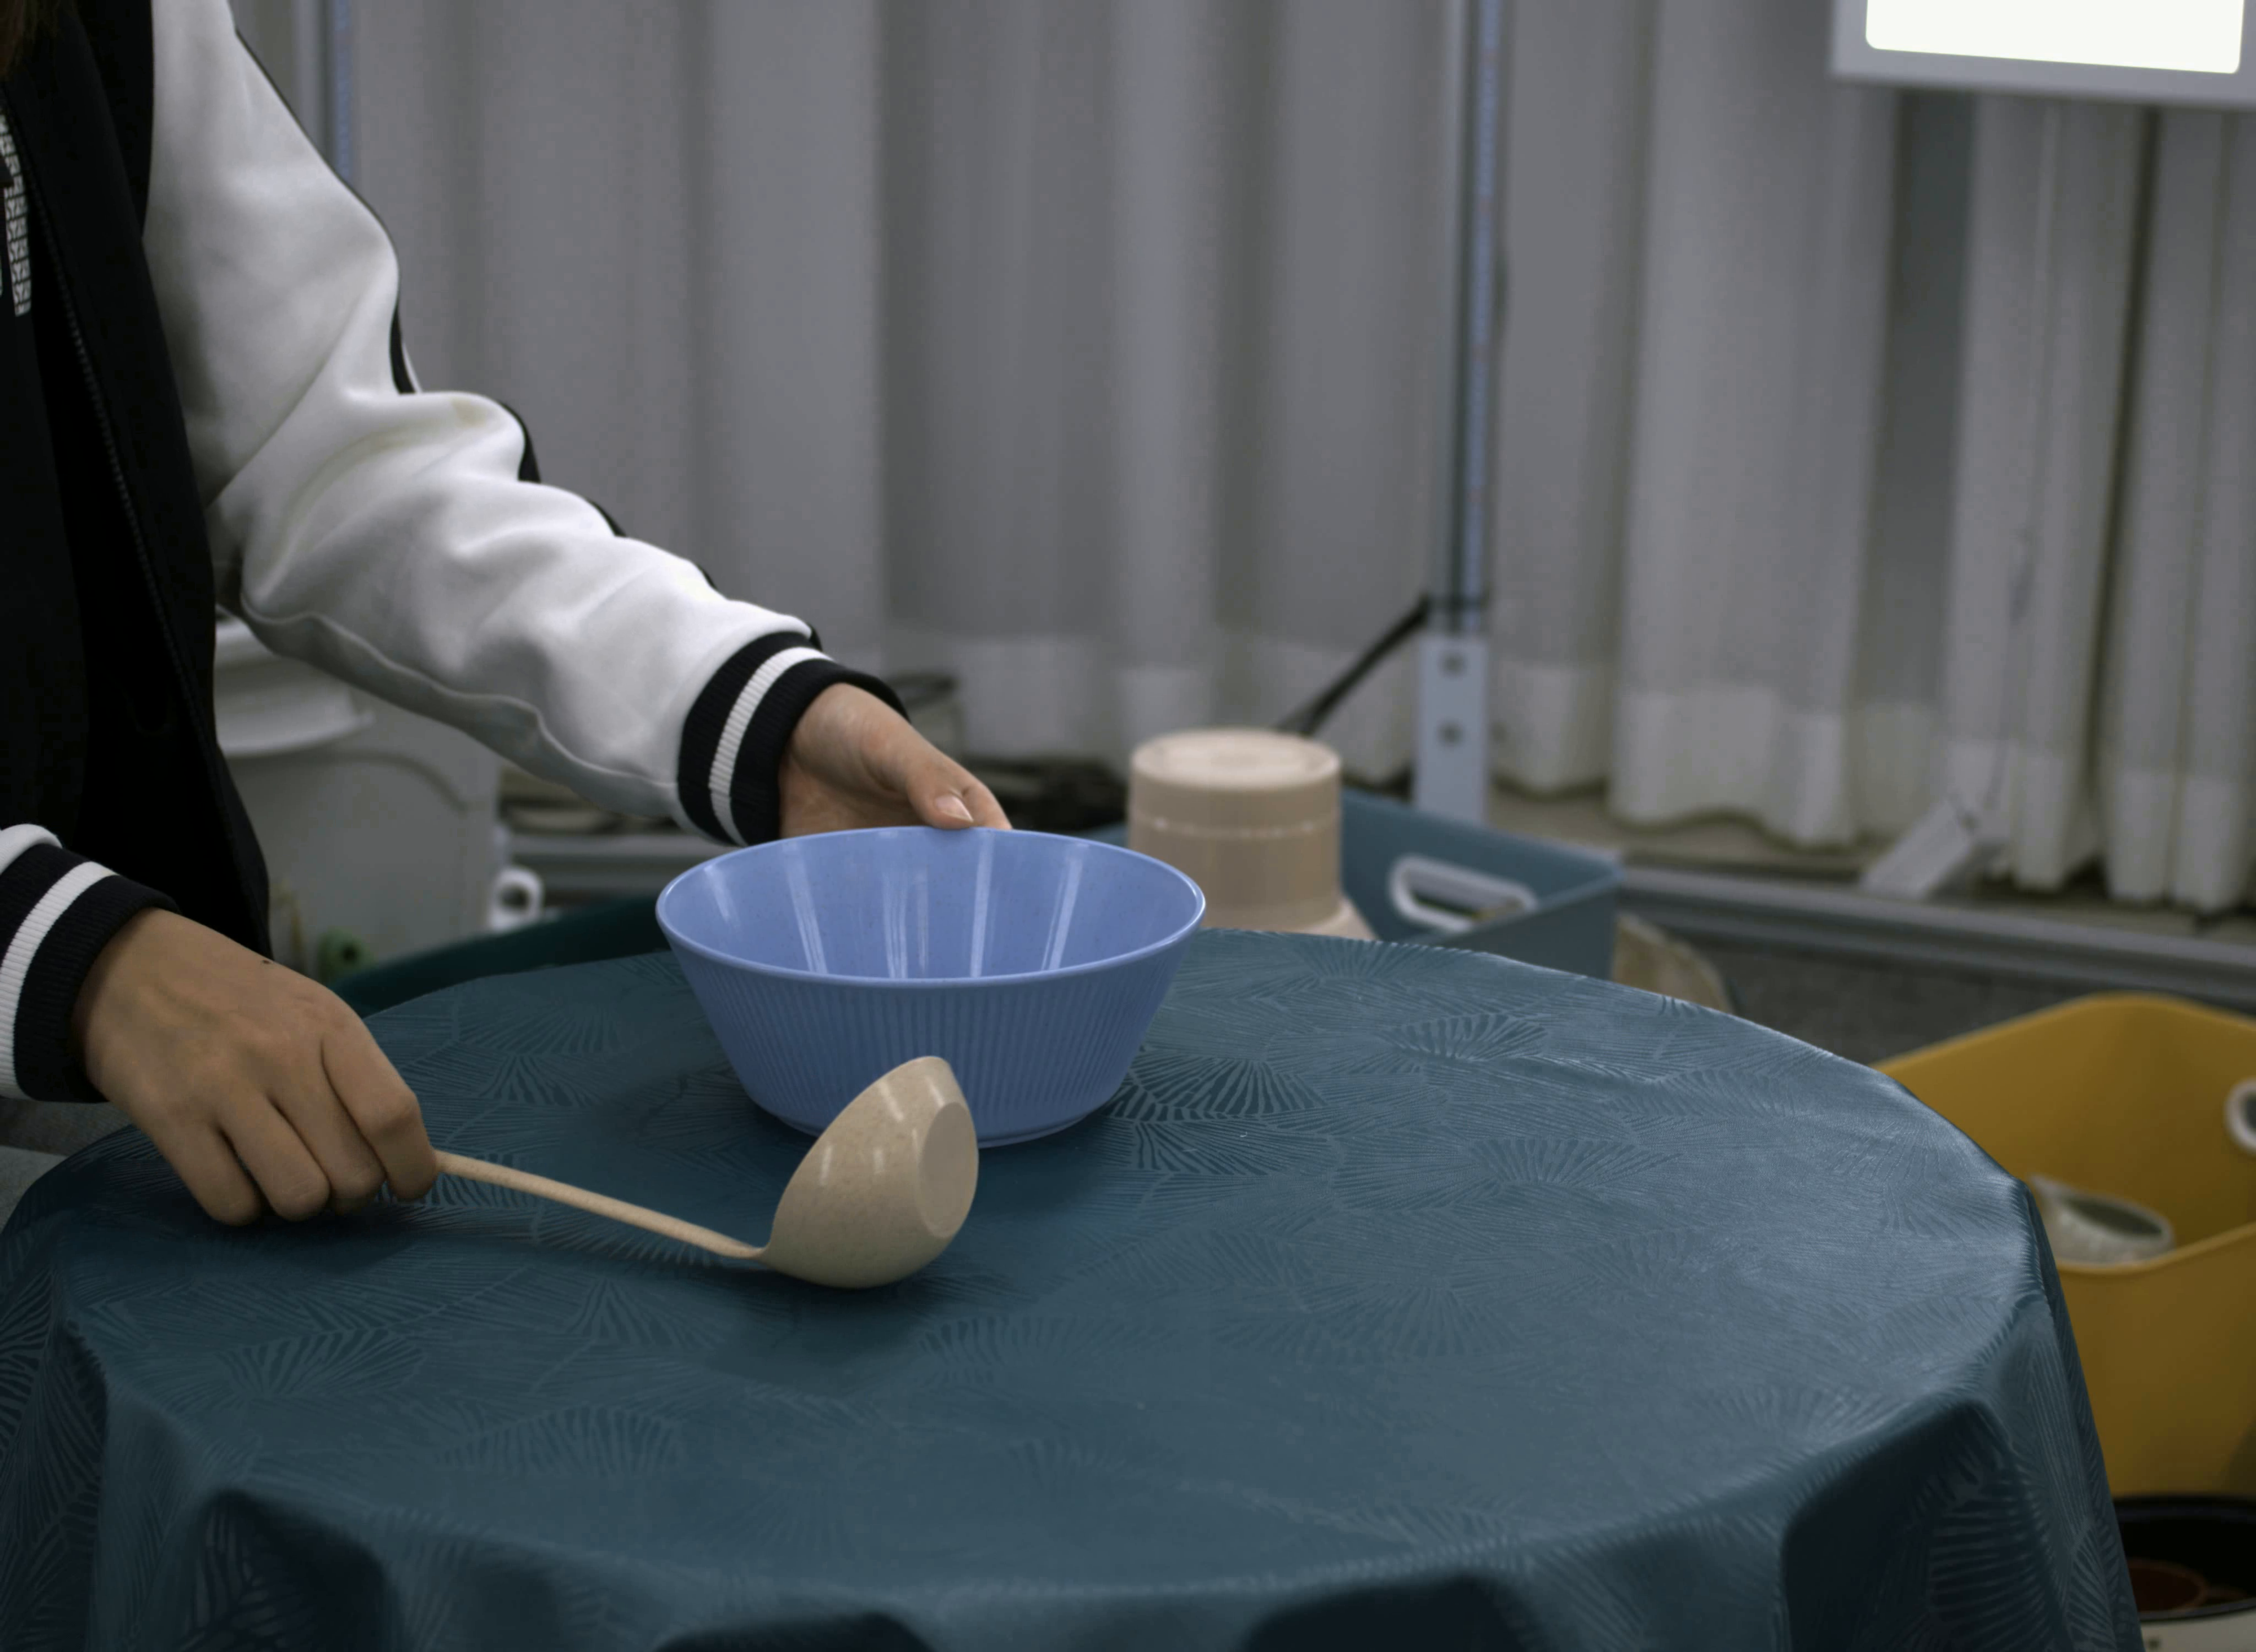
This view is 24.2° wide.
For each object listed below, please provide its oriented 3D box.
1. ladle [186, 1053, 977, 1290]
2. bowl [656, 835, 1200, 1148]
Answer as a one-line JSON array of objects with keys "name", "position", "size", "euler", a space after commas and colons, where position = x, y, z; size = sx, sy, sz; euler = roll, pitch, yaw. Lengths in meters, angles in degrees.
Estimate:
[{"name": "ladle", "position": [-0.166, 0.084, 1.564], "size": [0.252, 0.073, 0.072], "euler": [10, -1, 22]}, {"name": "bowl", "position": [-0.064, 0.055, 1.693], "size": [0.175, 0.071, 0.175], "euler": [1, 15, 0]}]
